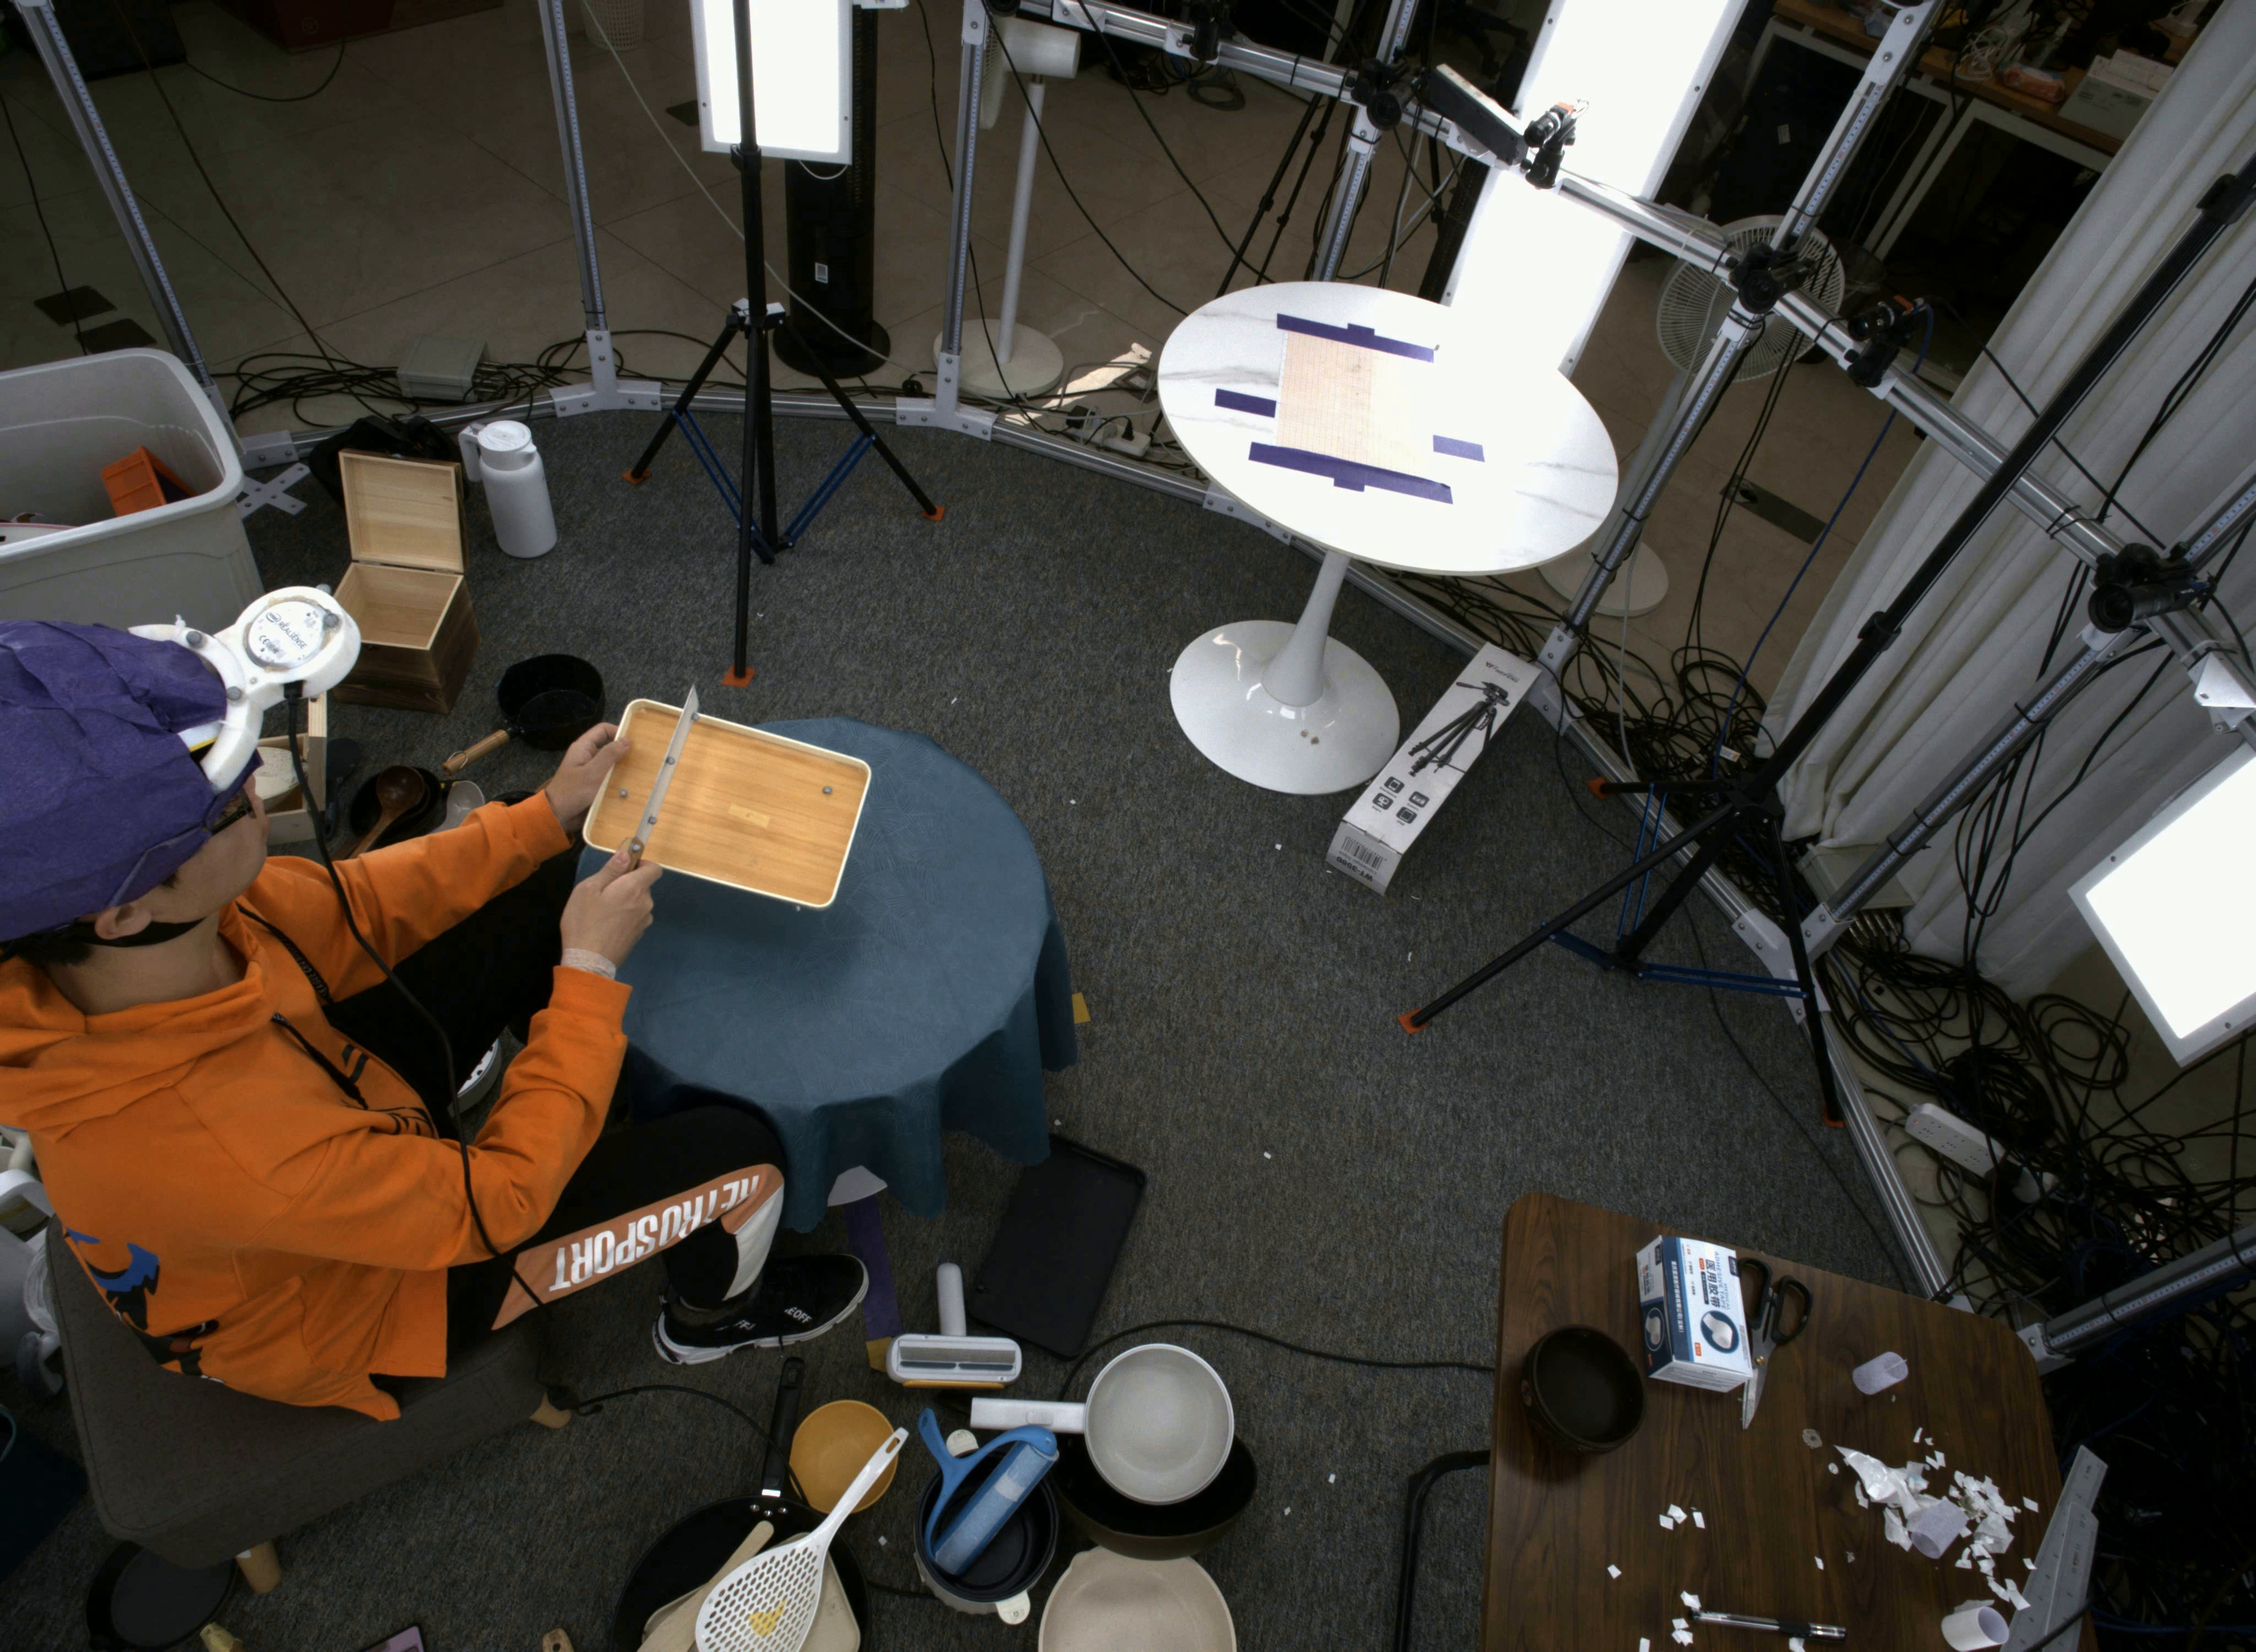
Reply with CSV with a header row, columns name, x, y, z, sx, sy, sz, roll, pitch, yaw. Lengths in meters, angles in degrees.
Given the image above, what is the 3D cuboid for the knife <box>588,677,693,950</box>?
name,x,y,z,sx,sy,sz,roll,pitch,yaw
knife,-0.524,-0.013,1.385,0.021,0.092,0.306,18,77,-10

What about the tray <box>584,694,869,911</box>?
name,x,y,z,sx,sy,sz,roll,pitch,yaw
tray,-0.471,-0.029,1.514,0.301,0.027,0.191,16,74,-11
